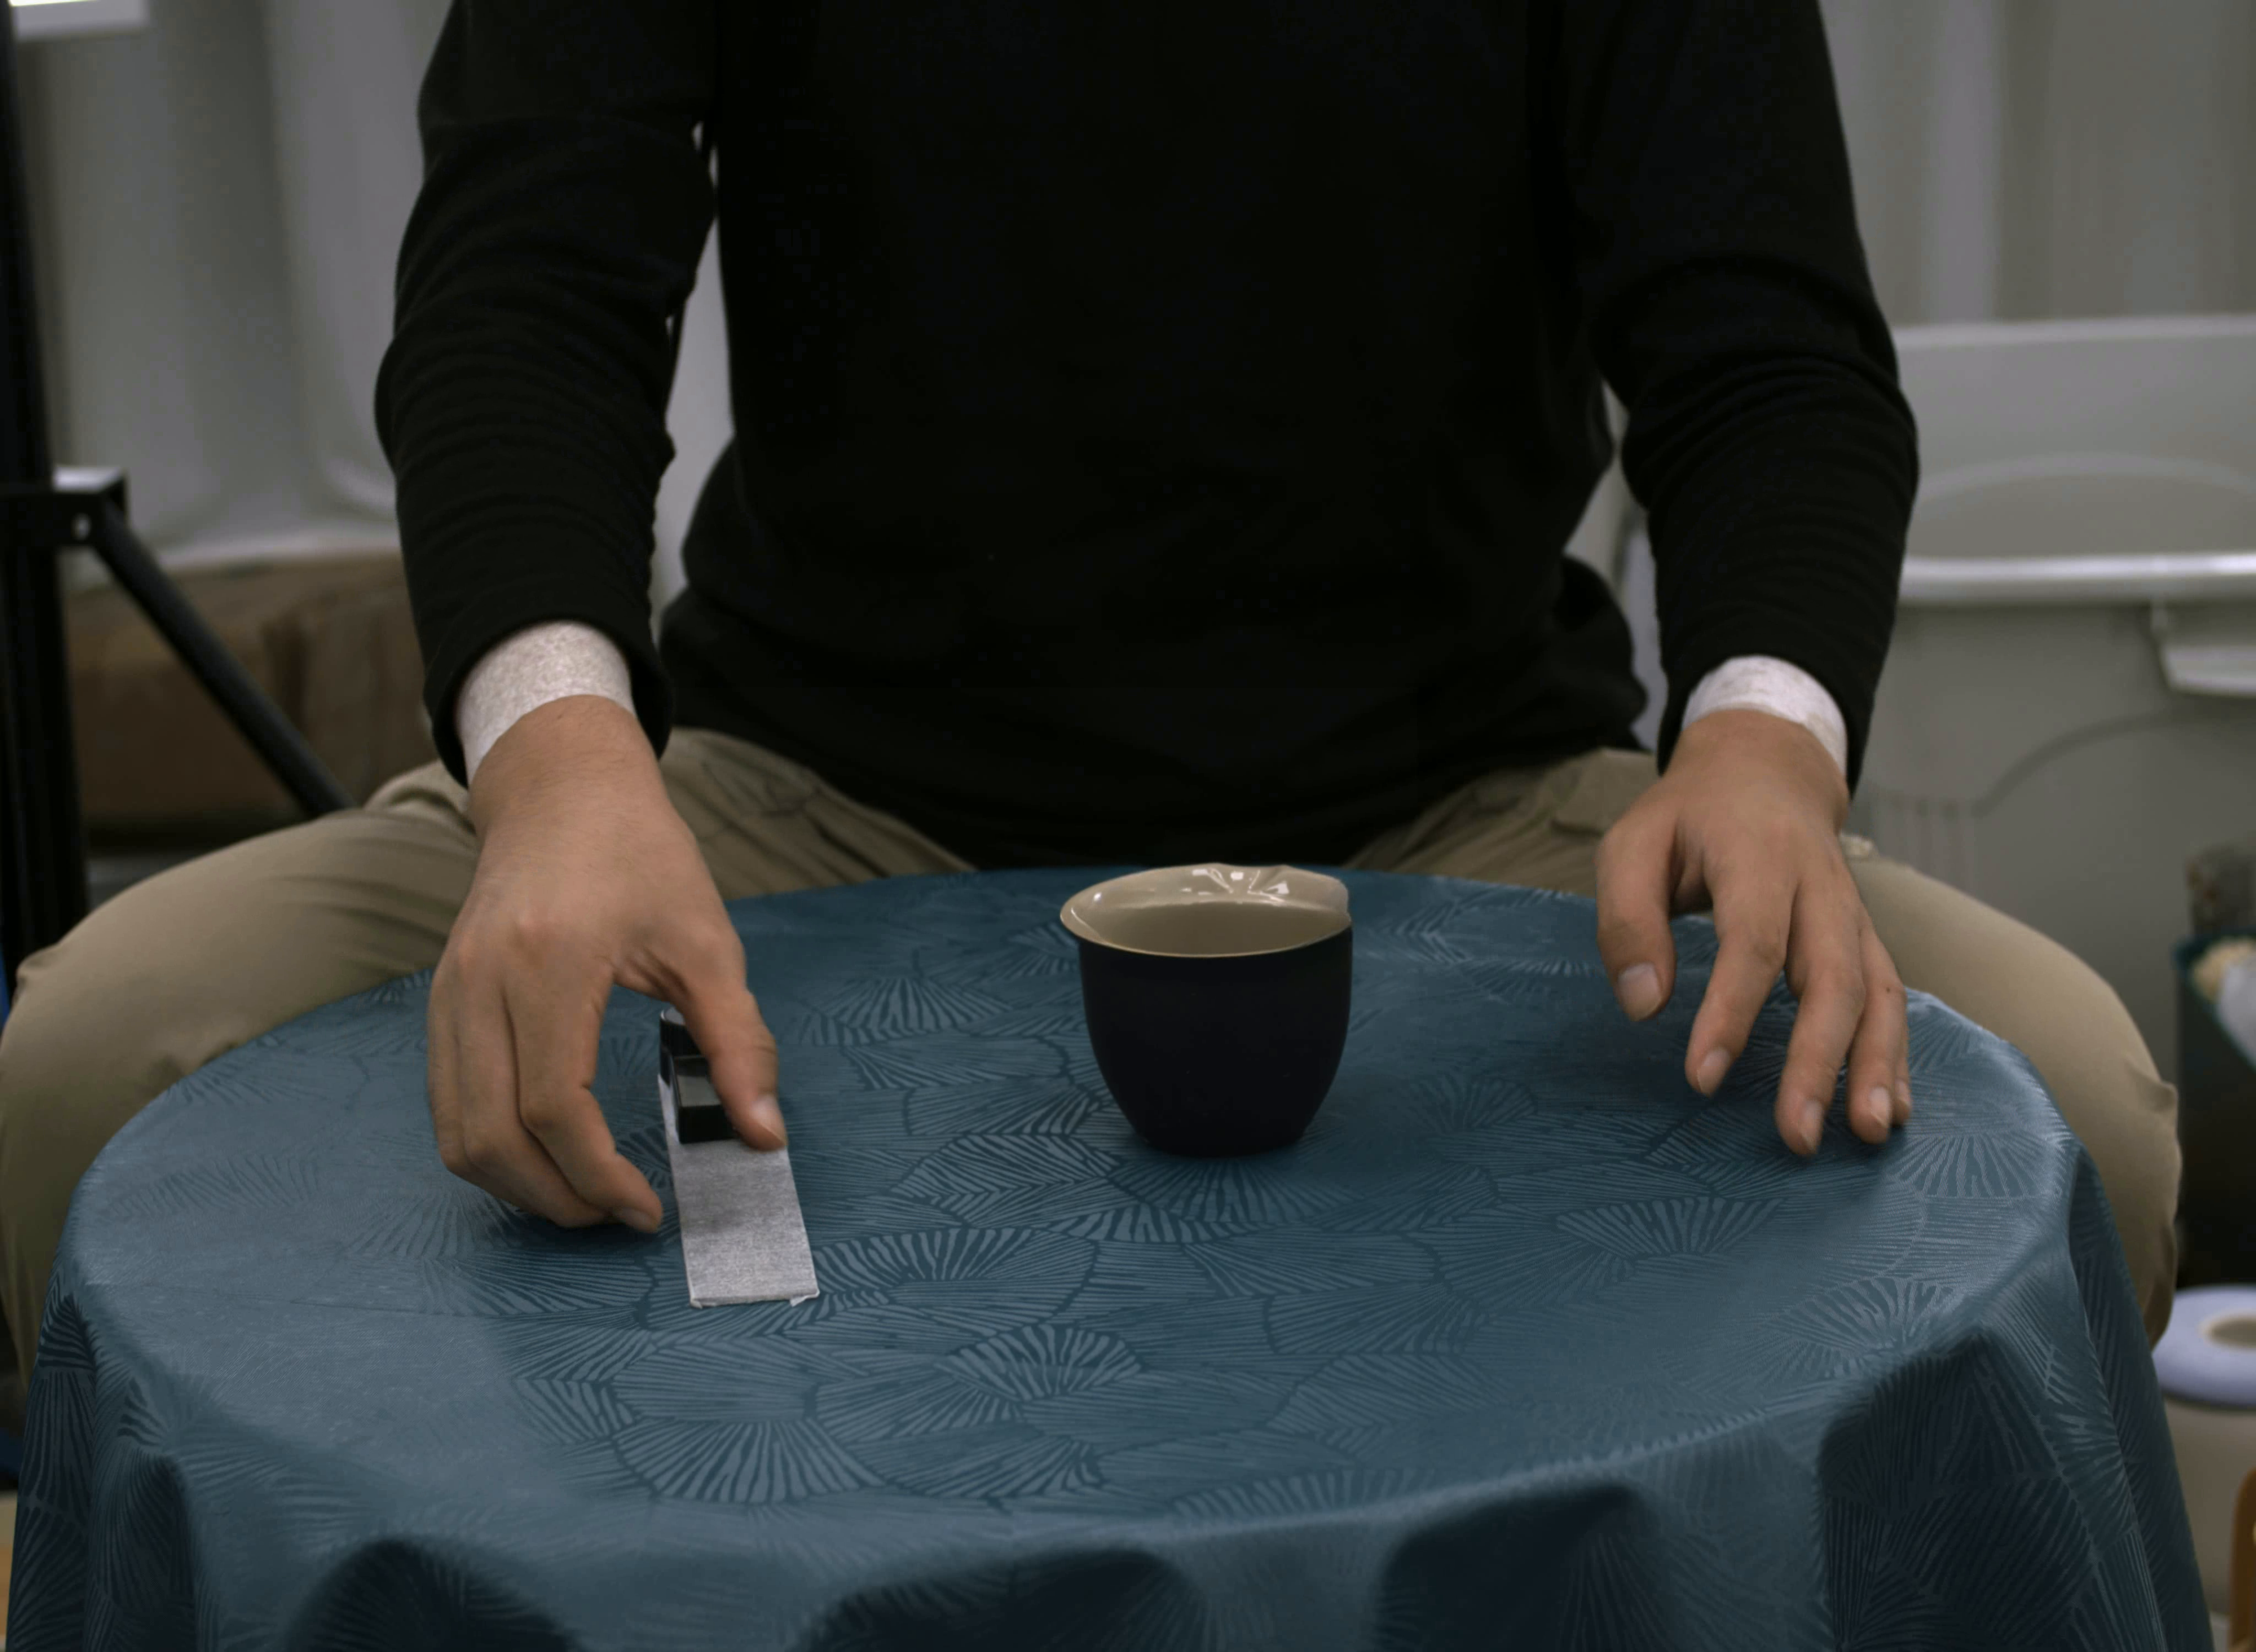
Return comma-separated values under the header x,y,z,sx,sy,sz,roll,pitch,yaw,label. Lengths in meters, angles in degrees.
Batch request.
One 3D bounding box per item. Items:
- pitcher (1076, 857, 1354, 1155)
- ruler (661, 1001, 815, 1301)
x,y,z,sx,sy,sz,roll,pitch,yaw,label
0.029,0.056,1.601,0.084,0.071,0.095,1,16,16,pitcher
-0.119,0.094,1.584,0.038,0.024,0.220,-9,15,-5,ruler
